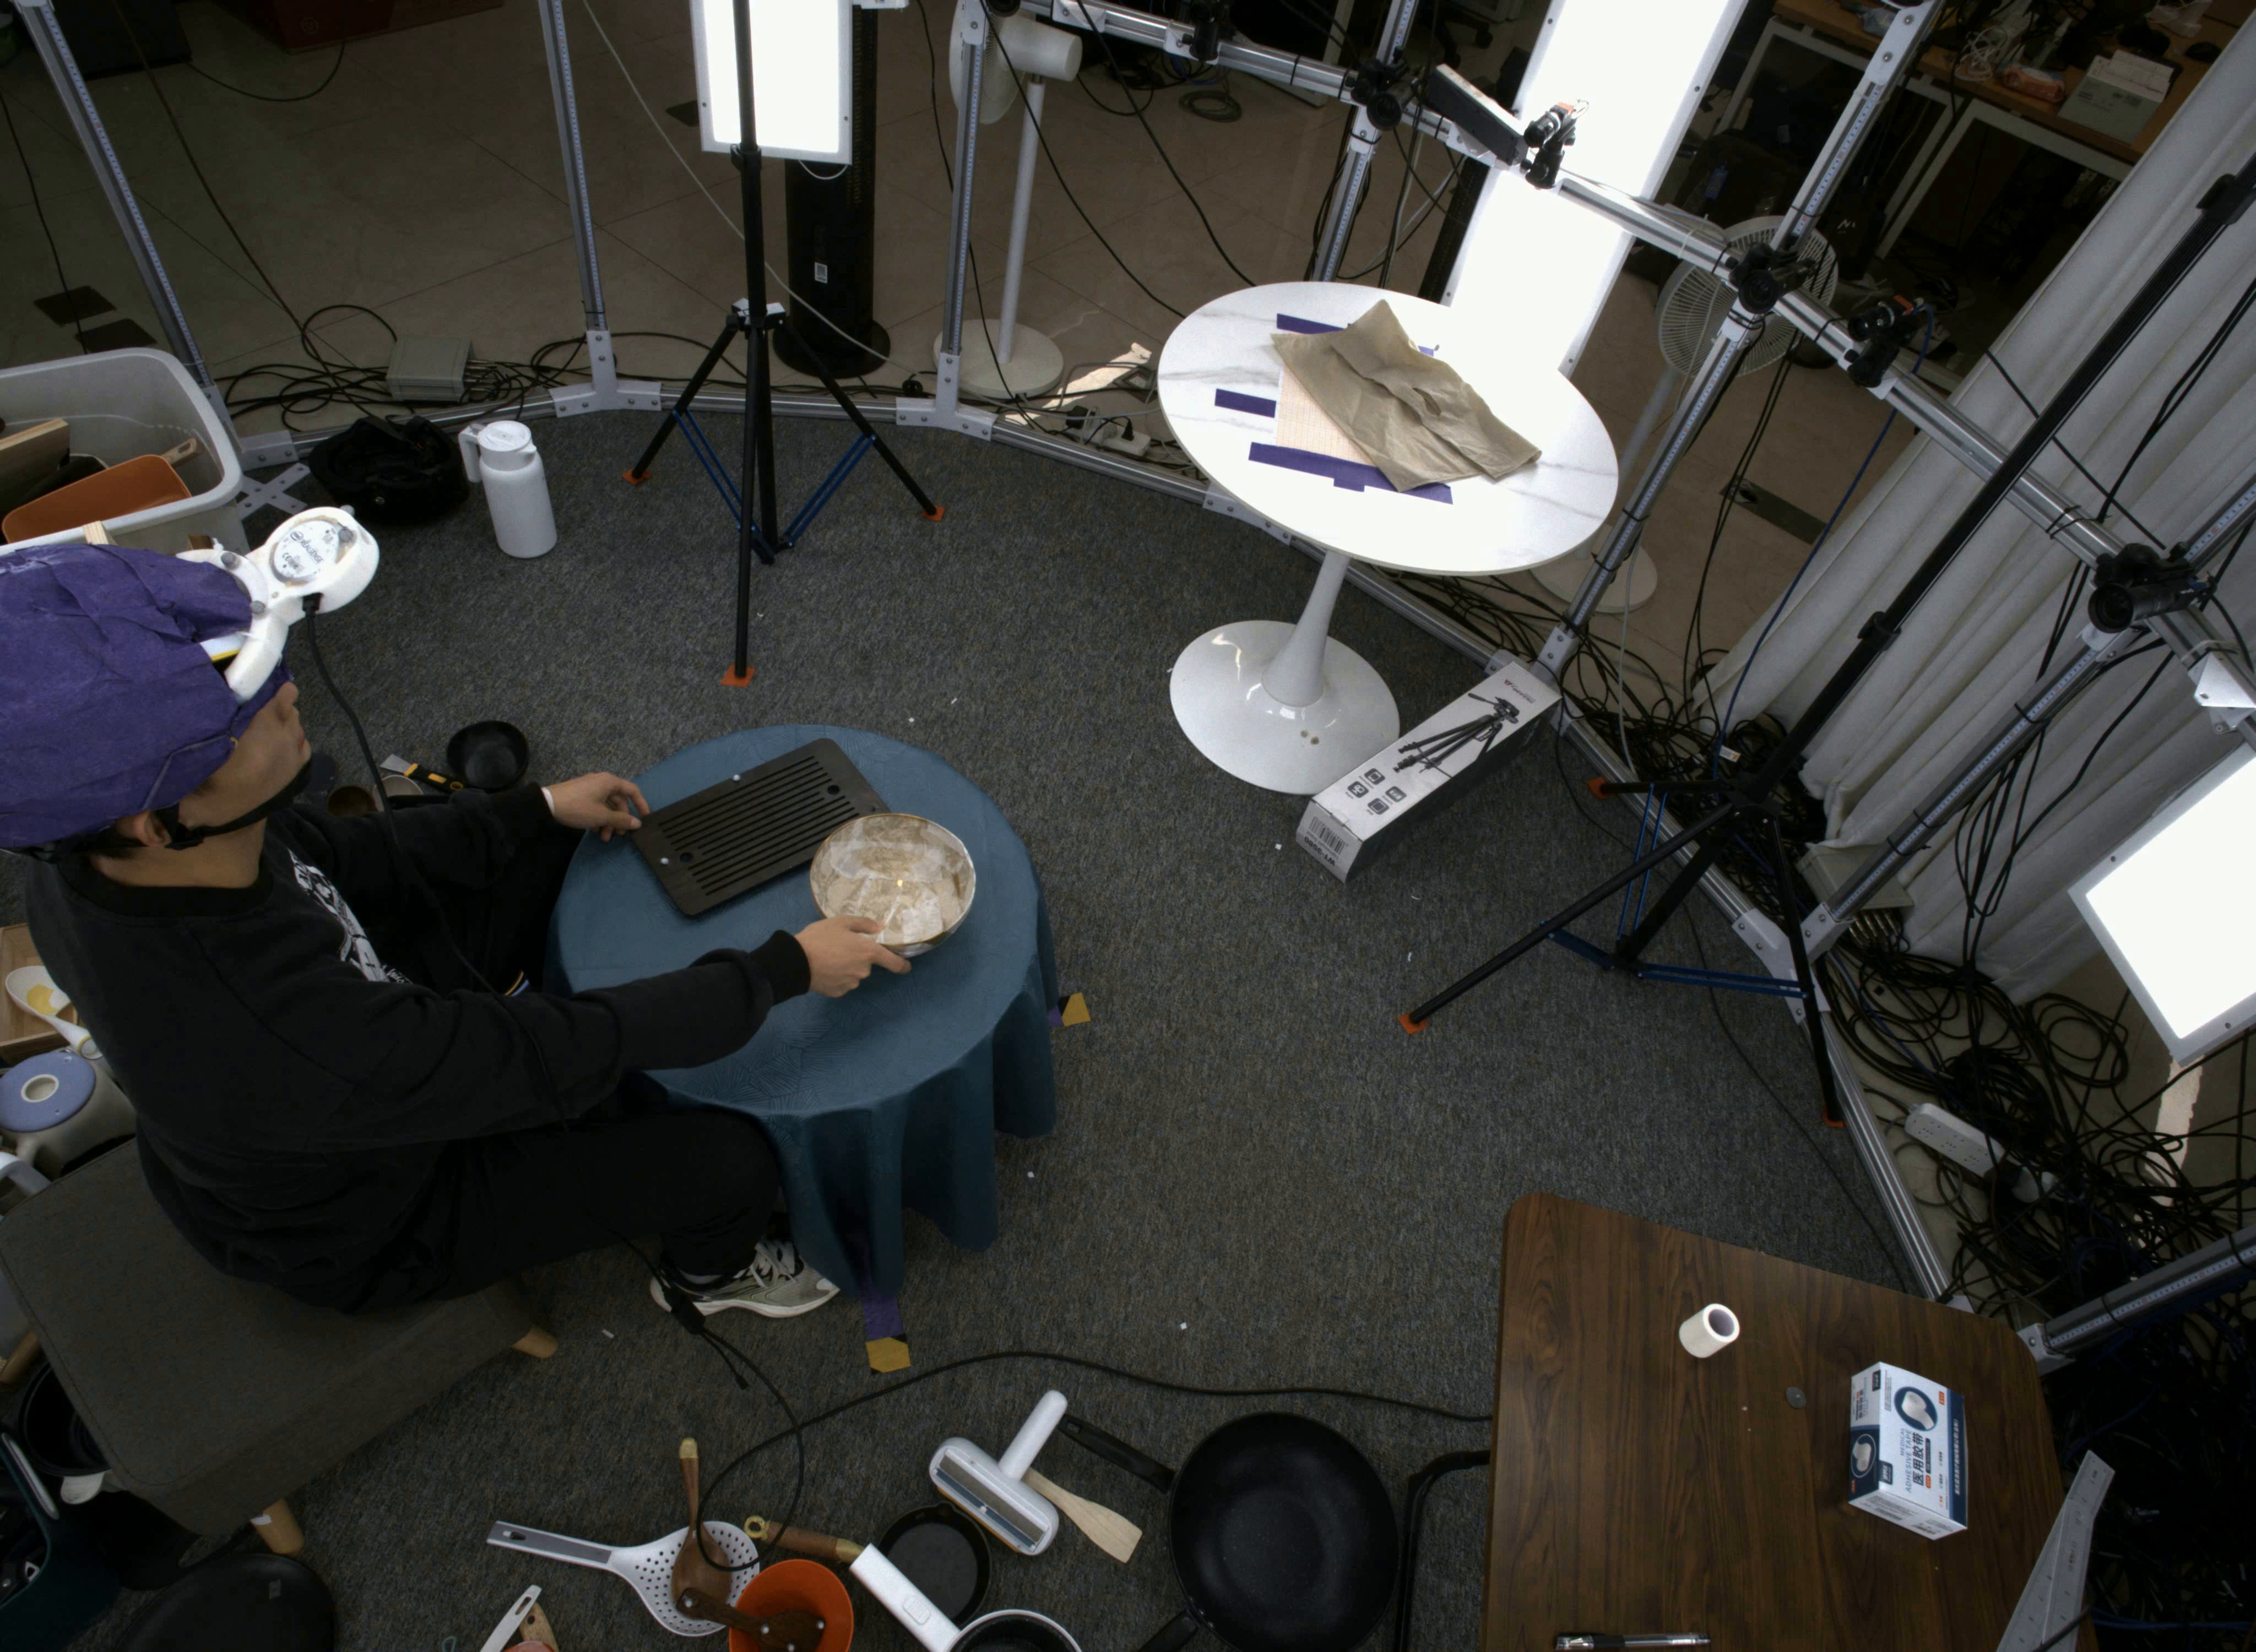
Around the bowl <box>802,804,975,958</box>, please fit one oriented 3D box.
[{"bbox_3d":[-0.301,0.085,1.638,0.214,0.096,0.211,8,53,-9],"label":"bowl"}]

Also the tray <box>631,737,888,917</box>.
[{"bbox_3d":[-0.483,-0.004,1.706,0.307,0.019,0.166,-29,65,-30],"label":"tray"}]
